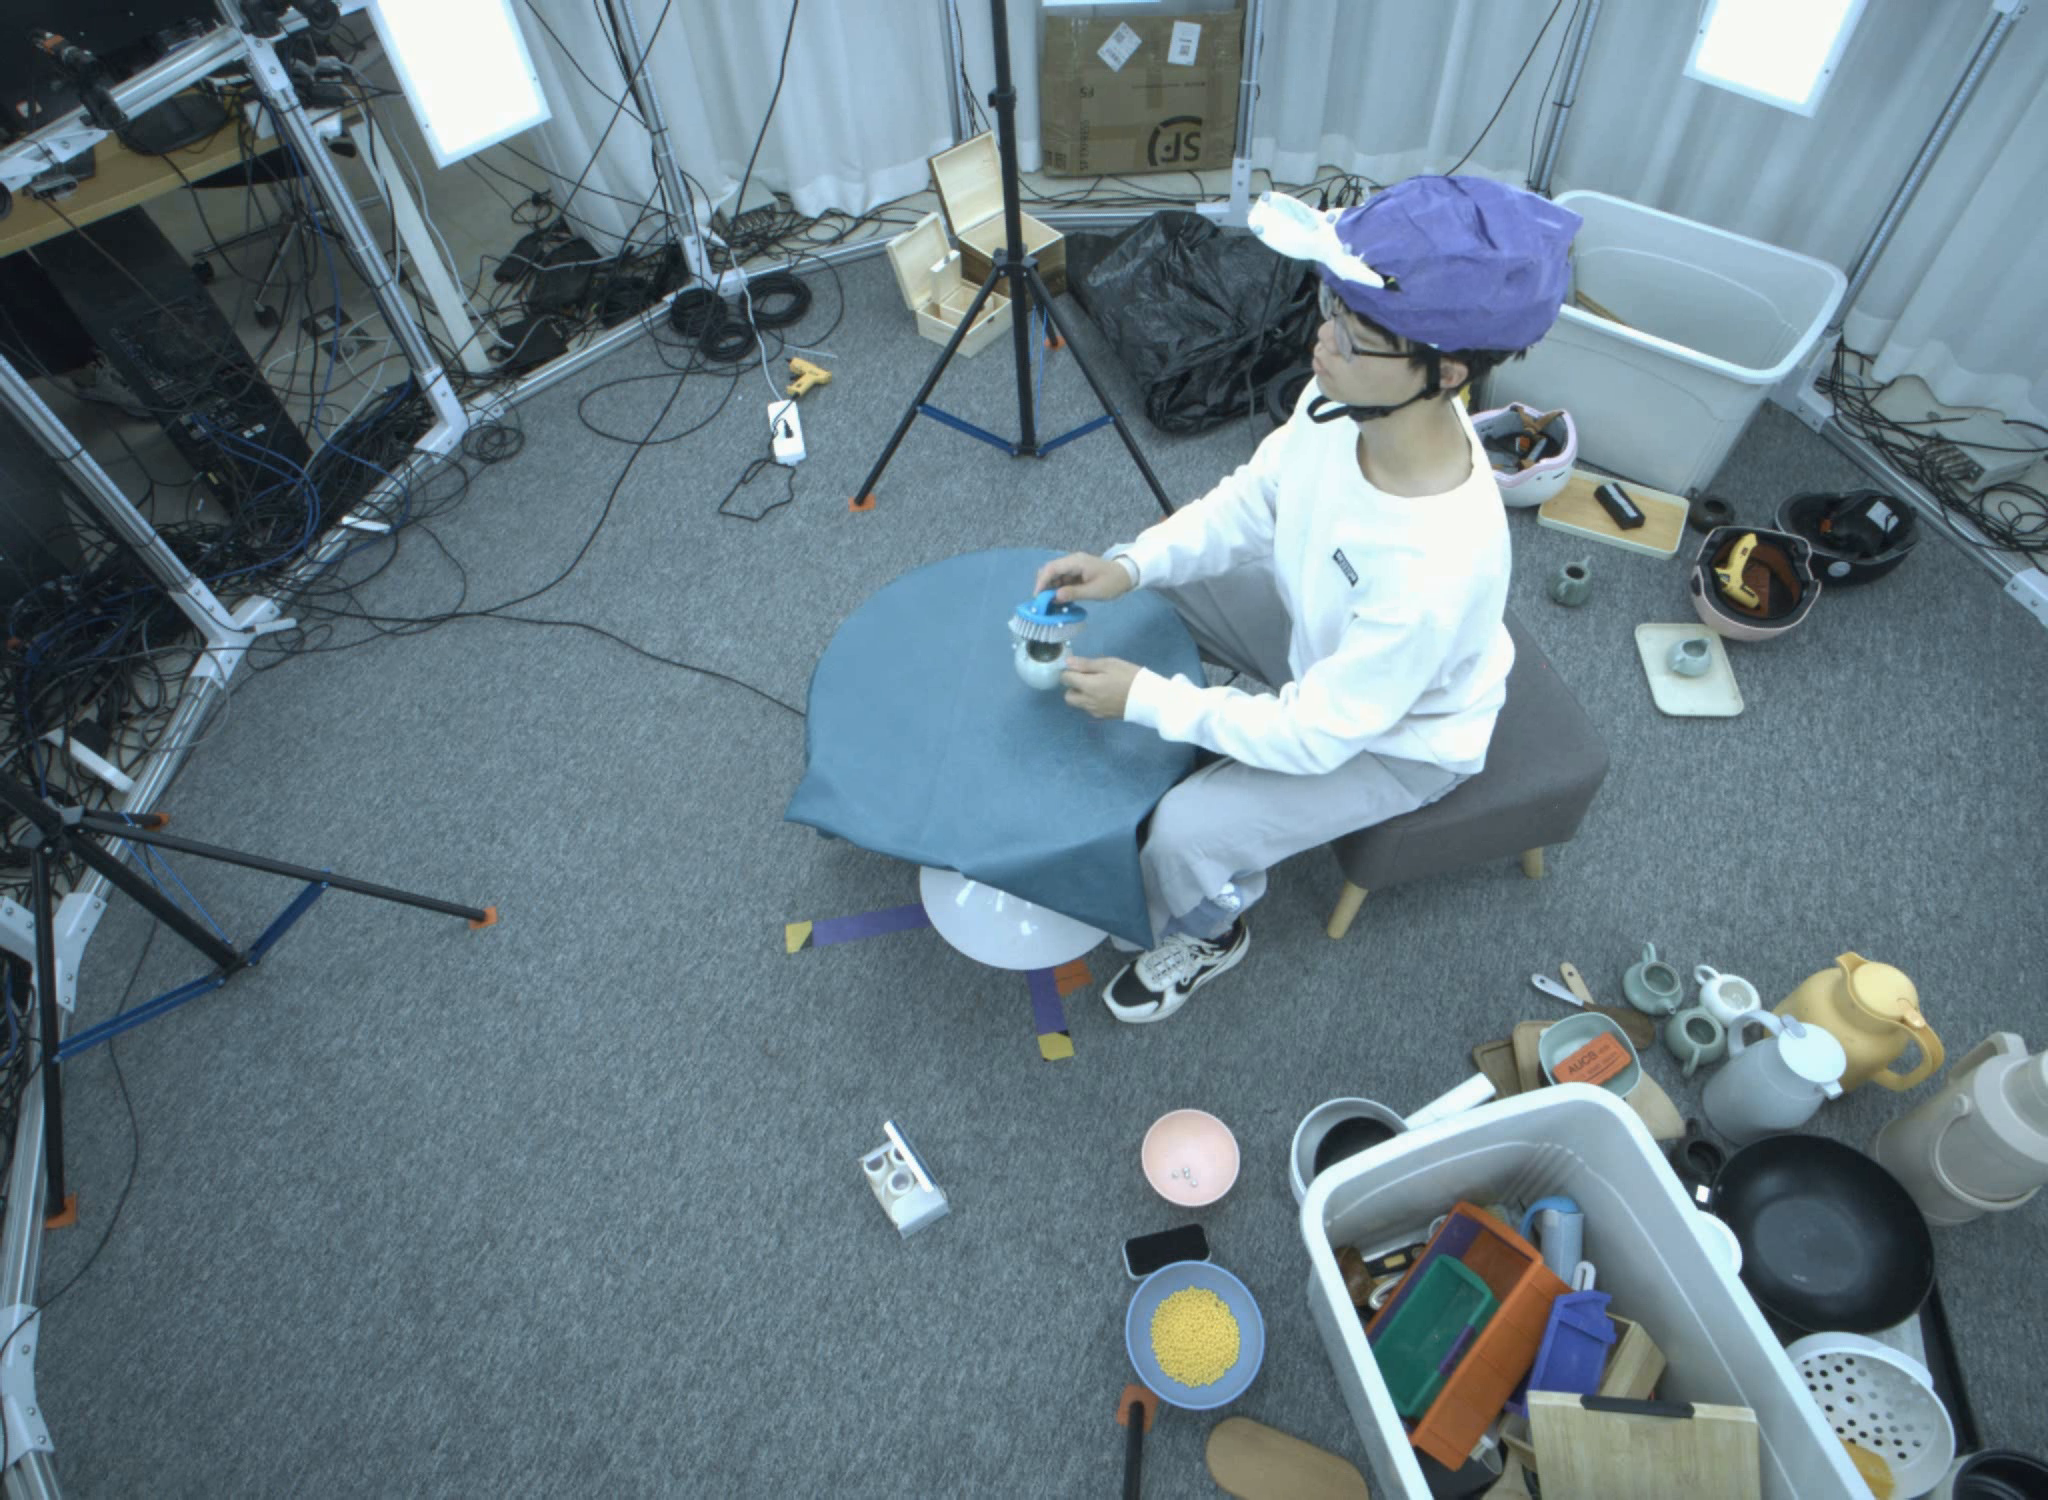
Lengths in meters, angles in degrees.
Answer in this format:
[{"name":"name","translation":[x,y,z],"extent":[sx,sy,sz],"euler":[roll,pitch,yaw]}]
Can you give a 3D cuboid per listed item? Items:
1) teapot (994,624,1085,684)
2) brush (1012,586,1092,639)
[{"name":"teapot","translation":[0.025,-0.139,1.775],"extent":[0.141,0.076,0.088],"euler":[21,65,25]},{"name":"brush","translation":[0.042,-0.202,1.759],"extent":[0.083,0.064,0.144],"euler":[21,21,26]}]
